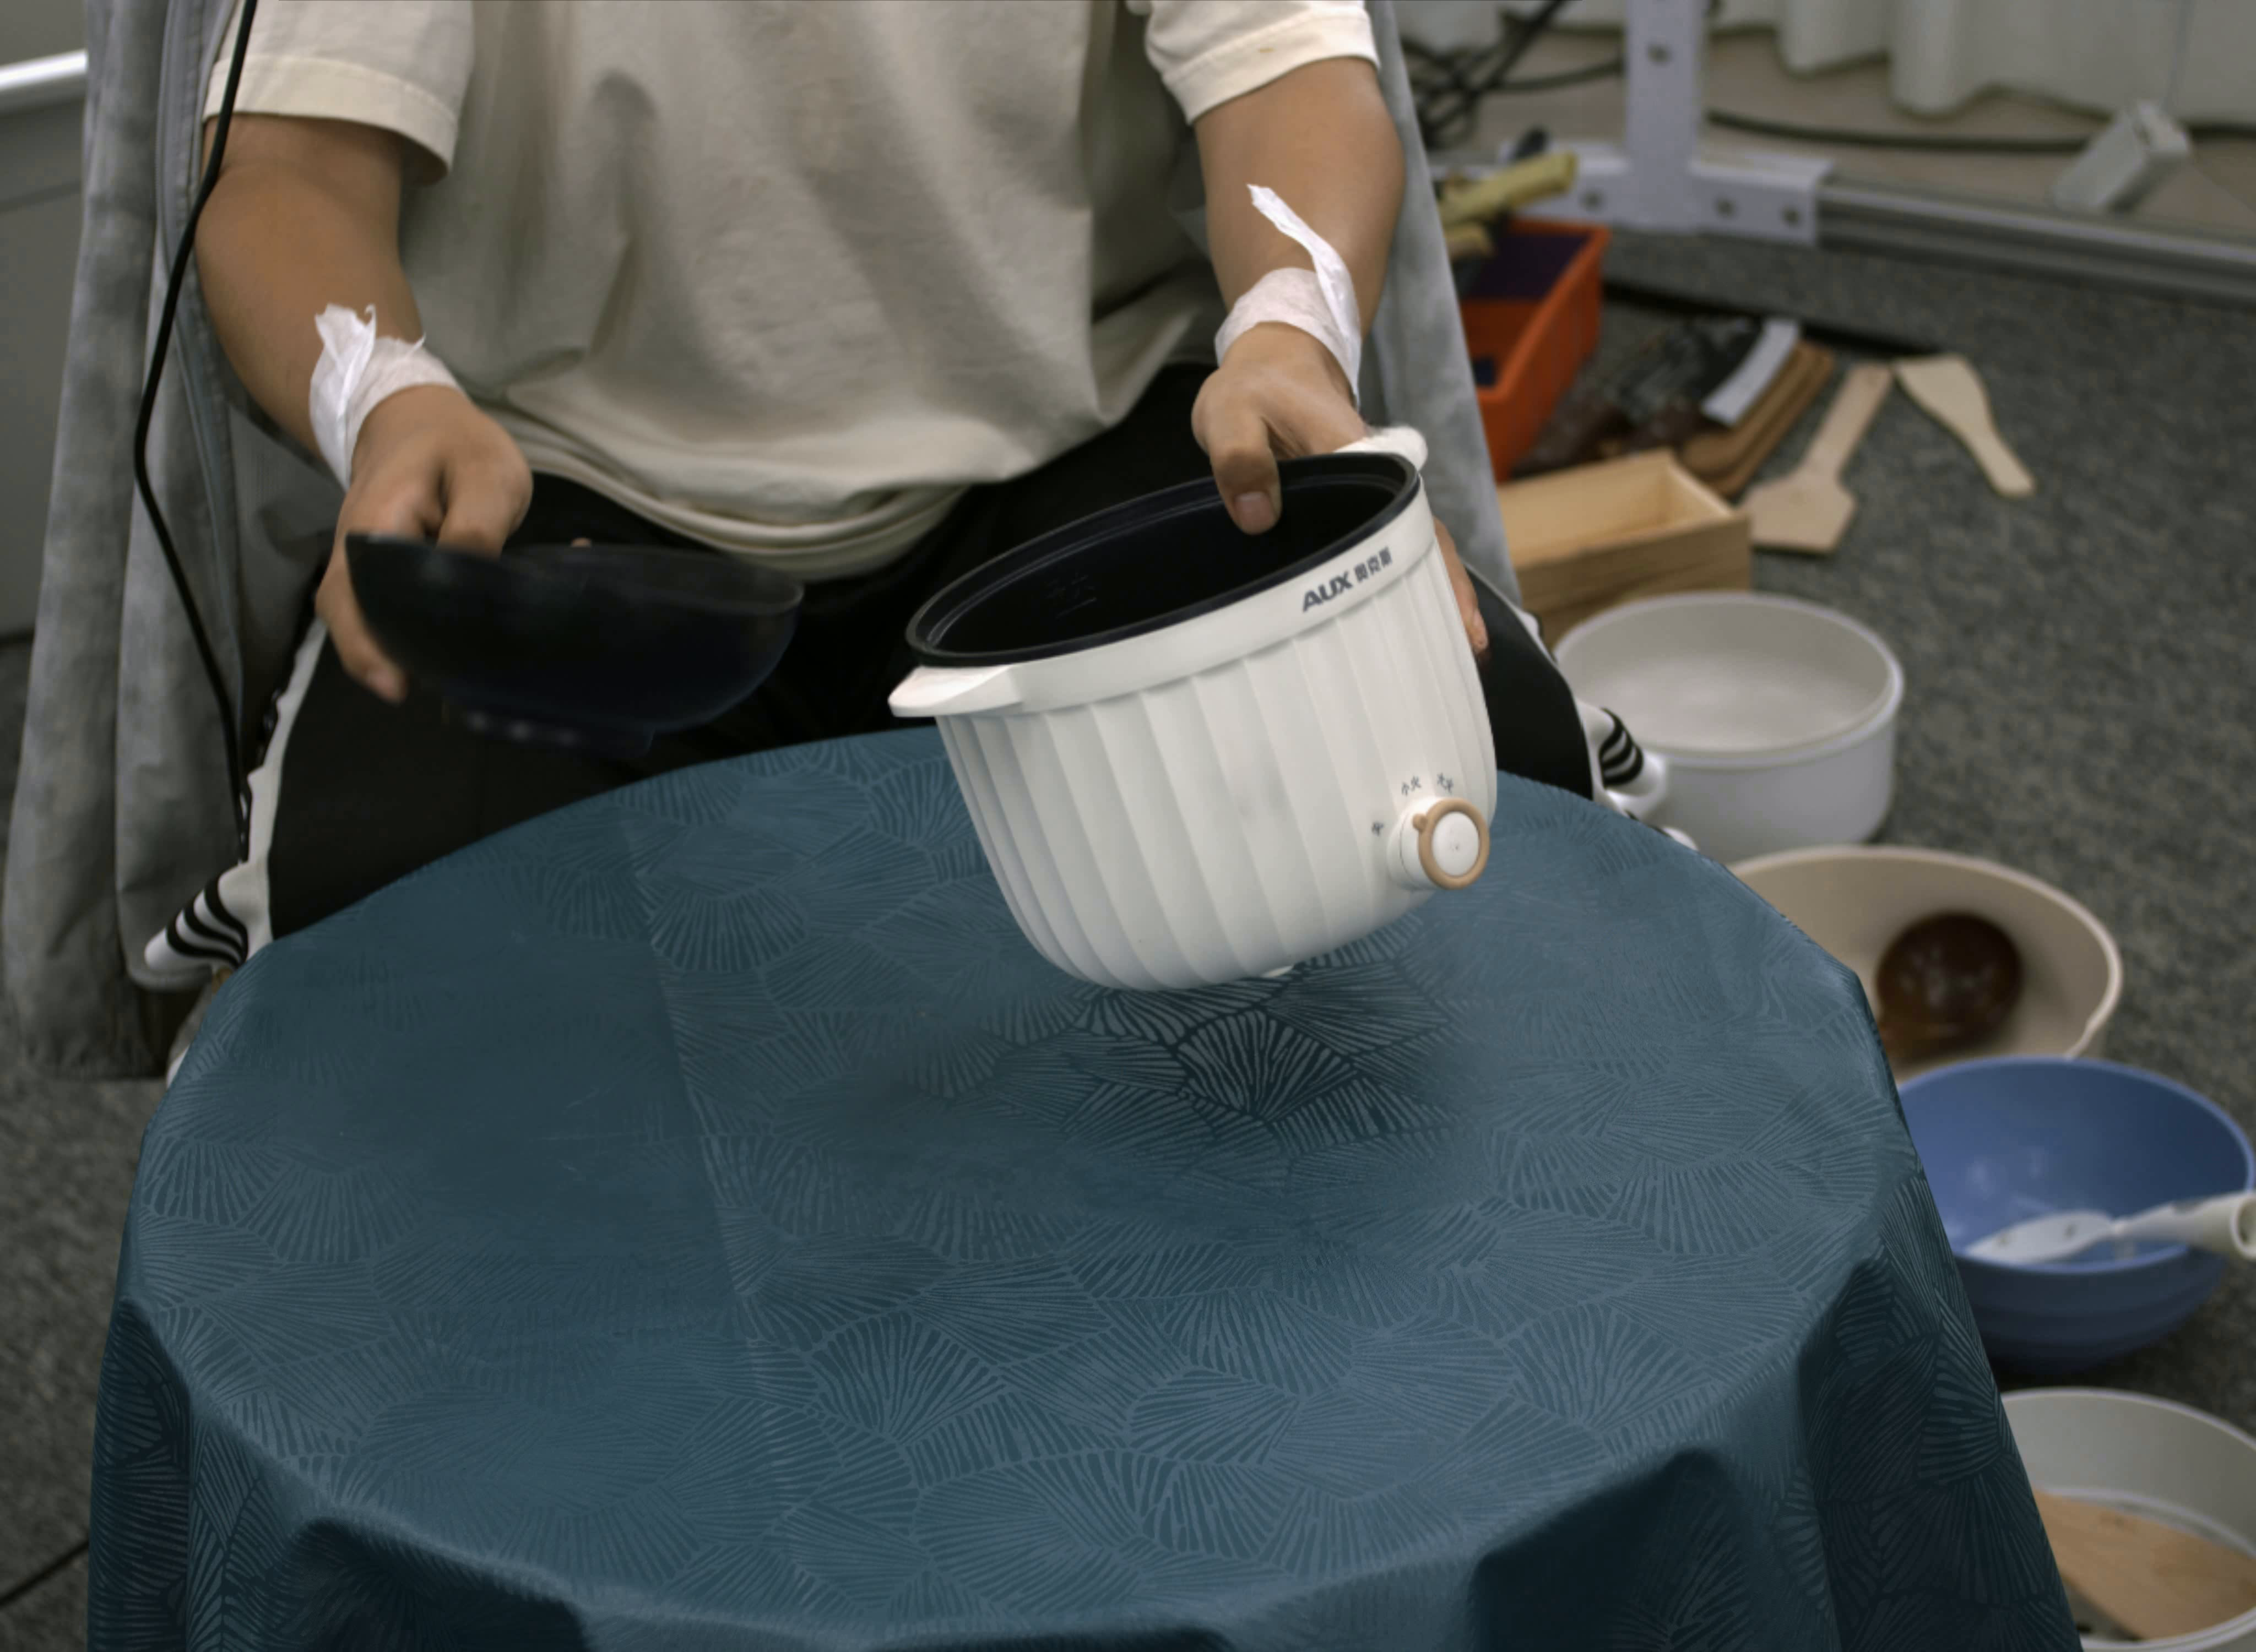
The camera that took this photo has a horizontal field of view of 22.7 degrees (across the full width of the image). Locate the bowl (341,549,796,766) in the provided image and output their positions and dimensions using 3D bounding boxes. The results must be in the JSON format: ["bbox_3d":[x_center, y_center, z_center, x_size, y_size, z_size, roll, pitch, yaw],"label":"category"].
[{"bbox_3d":[-0.189,-0.056,1.849,0.169,0.067,0.138,13,8,40],"label":"bowl"}]

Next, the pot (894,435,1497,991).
[{"bbox_3d":[0.036,-0.031,1.894,0.243,0.142,0.188,-30,16,-37],"label":"pot"}]
